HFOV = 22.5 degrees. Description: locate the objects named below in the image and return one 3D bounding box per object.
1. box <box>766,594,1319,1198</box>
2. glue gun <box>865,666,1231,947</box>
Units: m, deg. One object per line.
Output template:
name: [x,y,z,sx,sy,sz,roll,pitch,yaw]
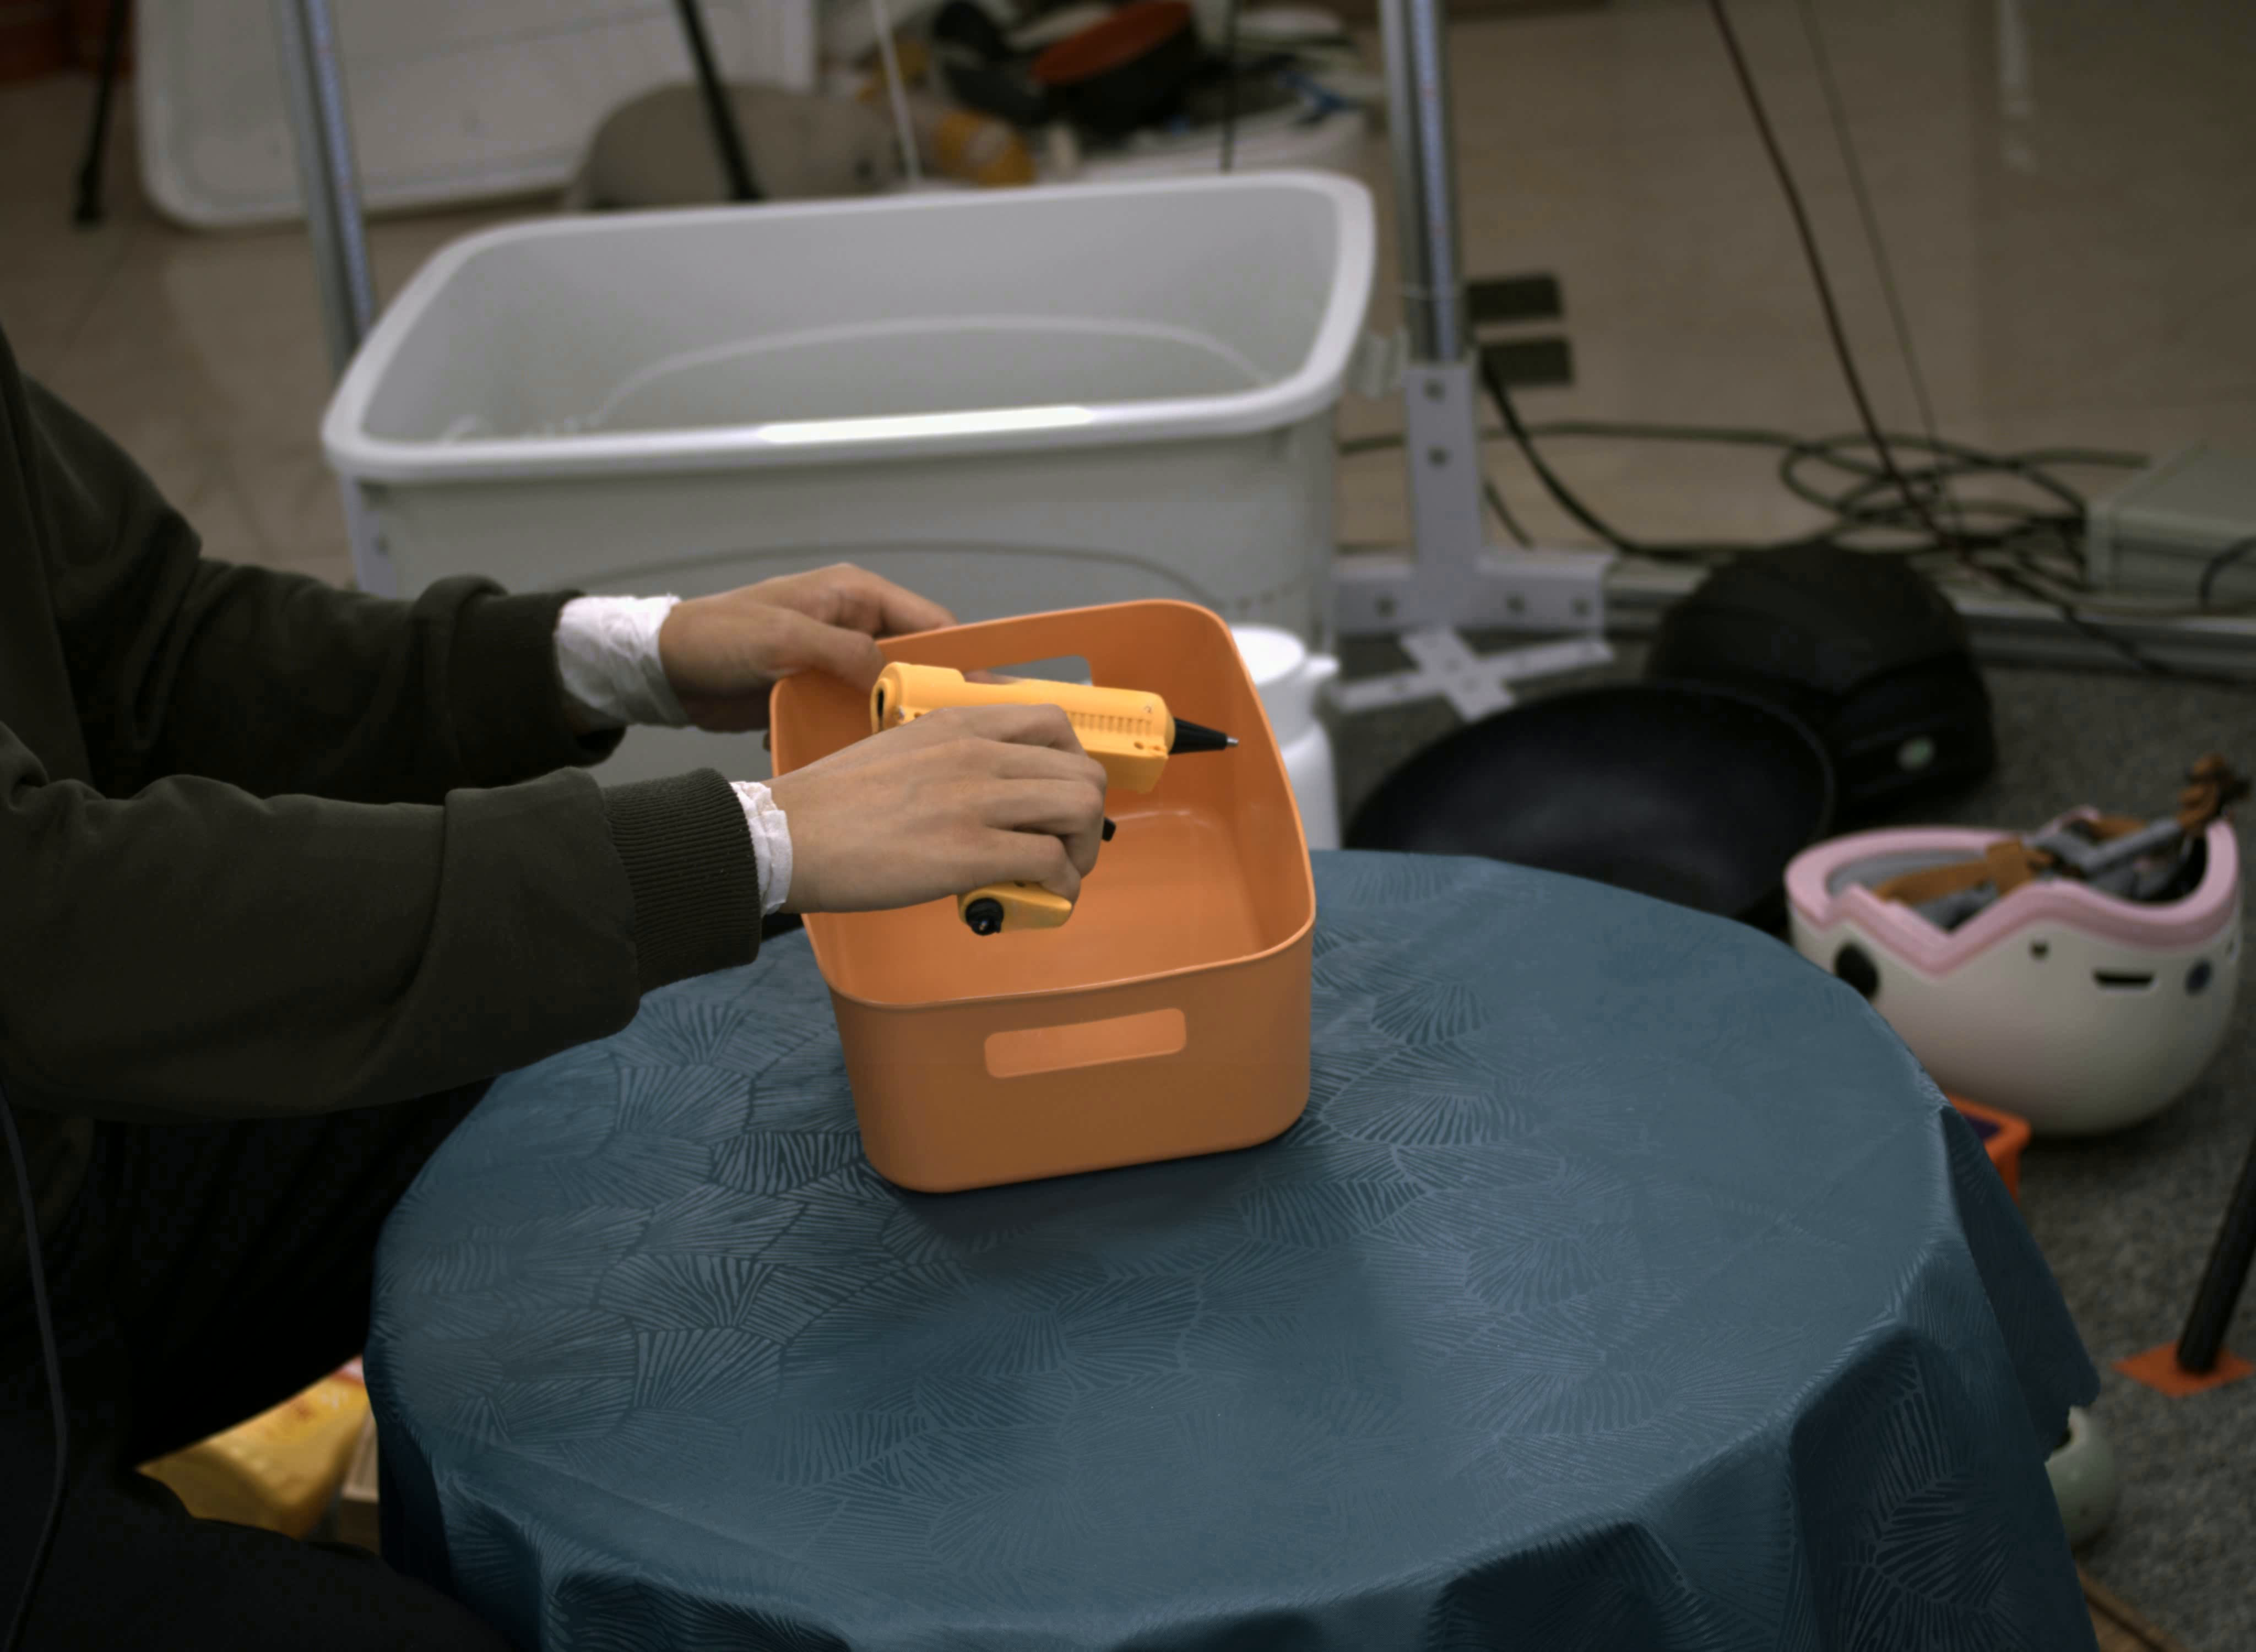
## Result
box: [-0.034,0.029,2.235,0.199,0.104,0.268,-10,35,-4]
glue gun: [-0.013,-0.006,2.117,0.151,0.031,0.131,2,45,-30]
